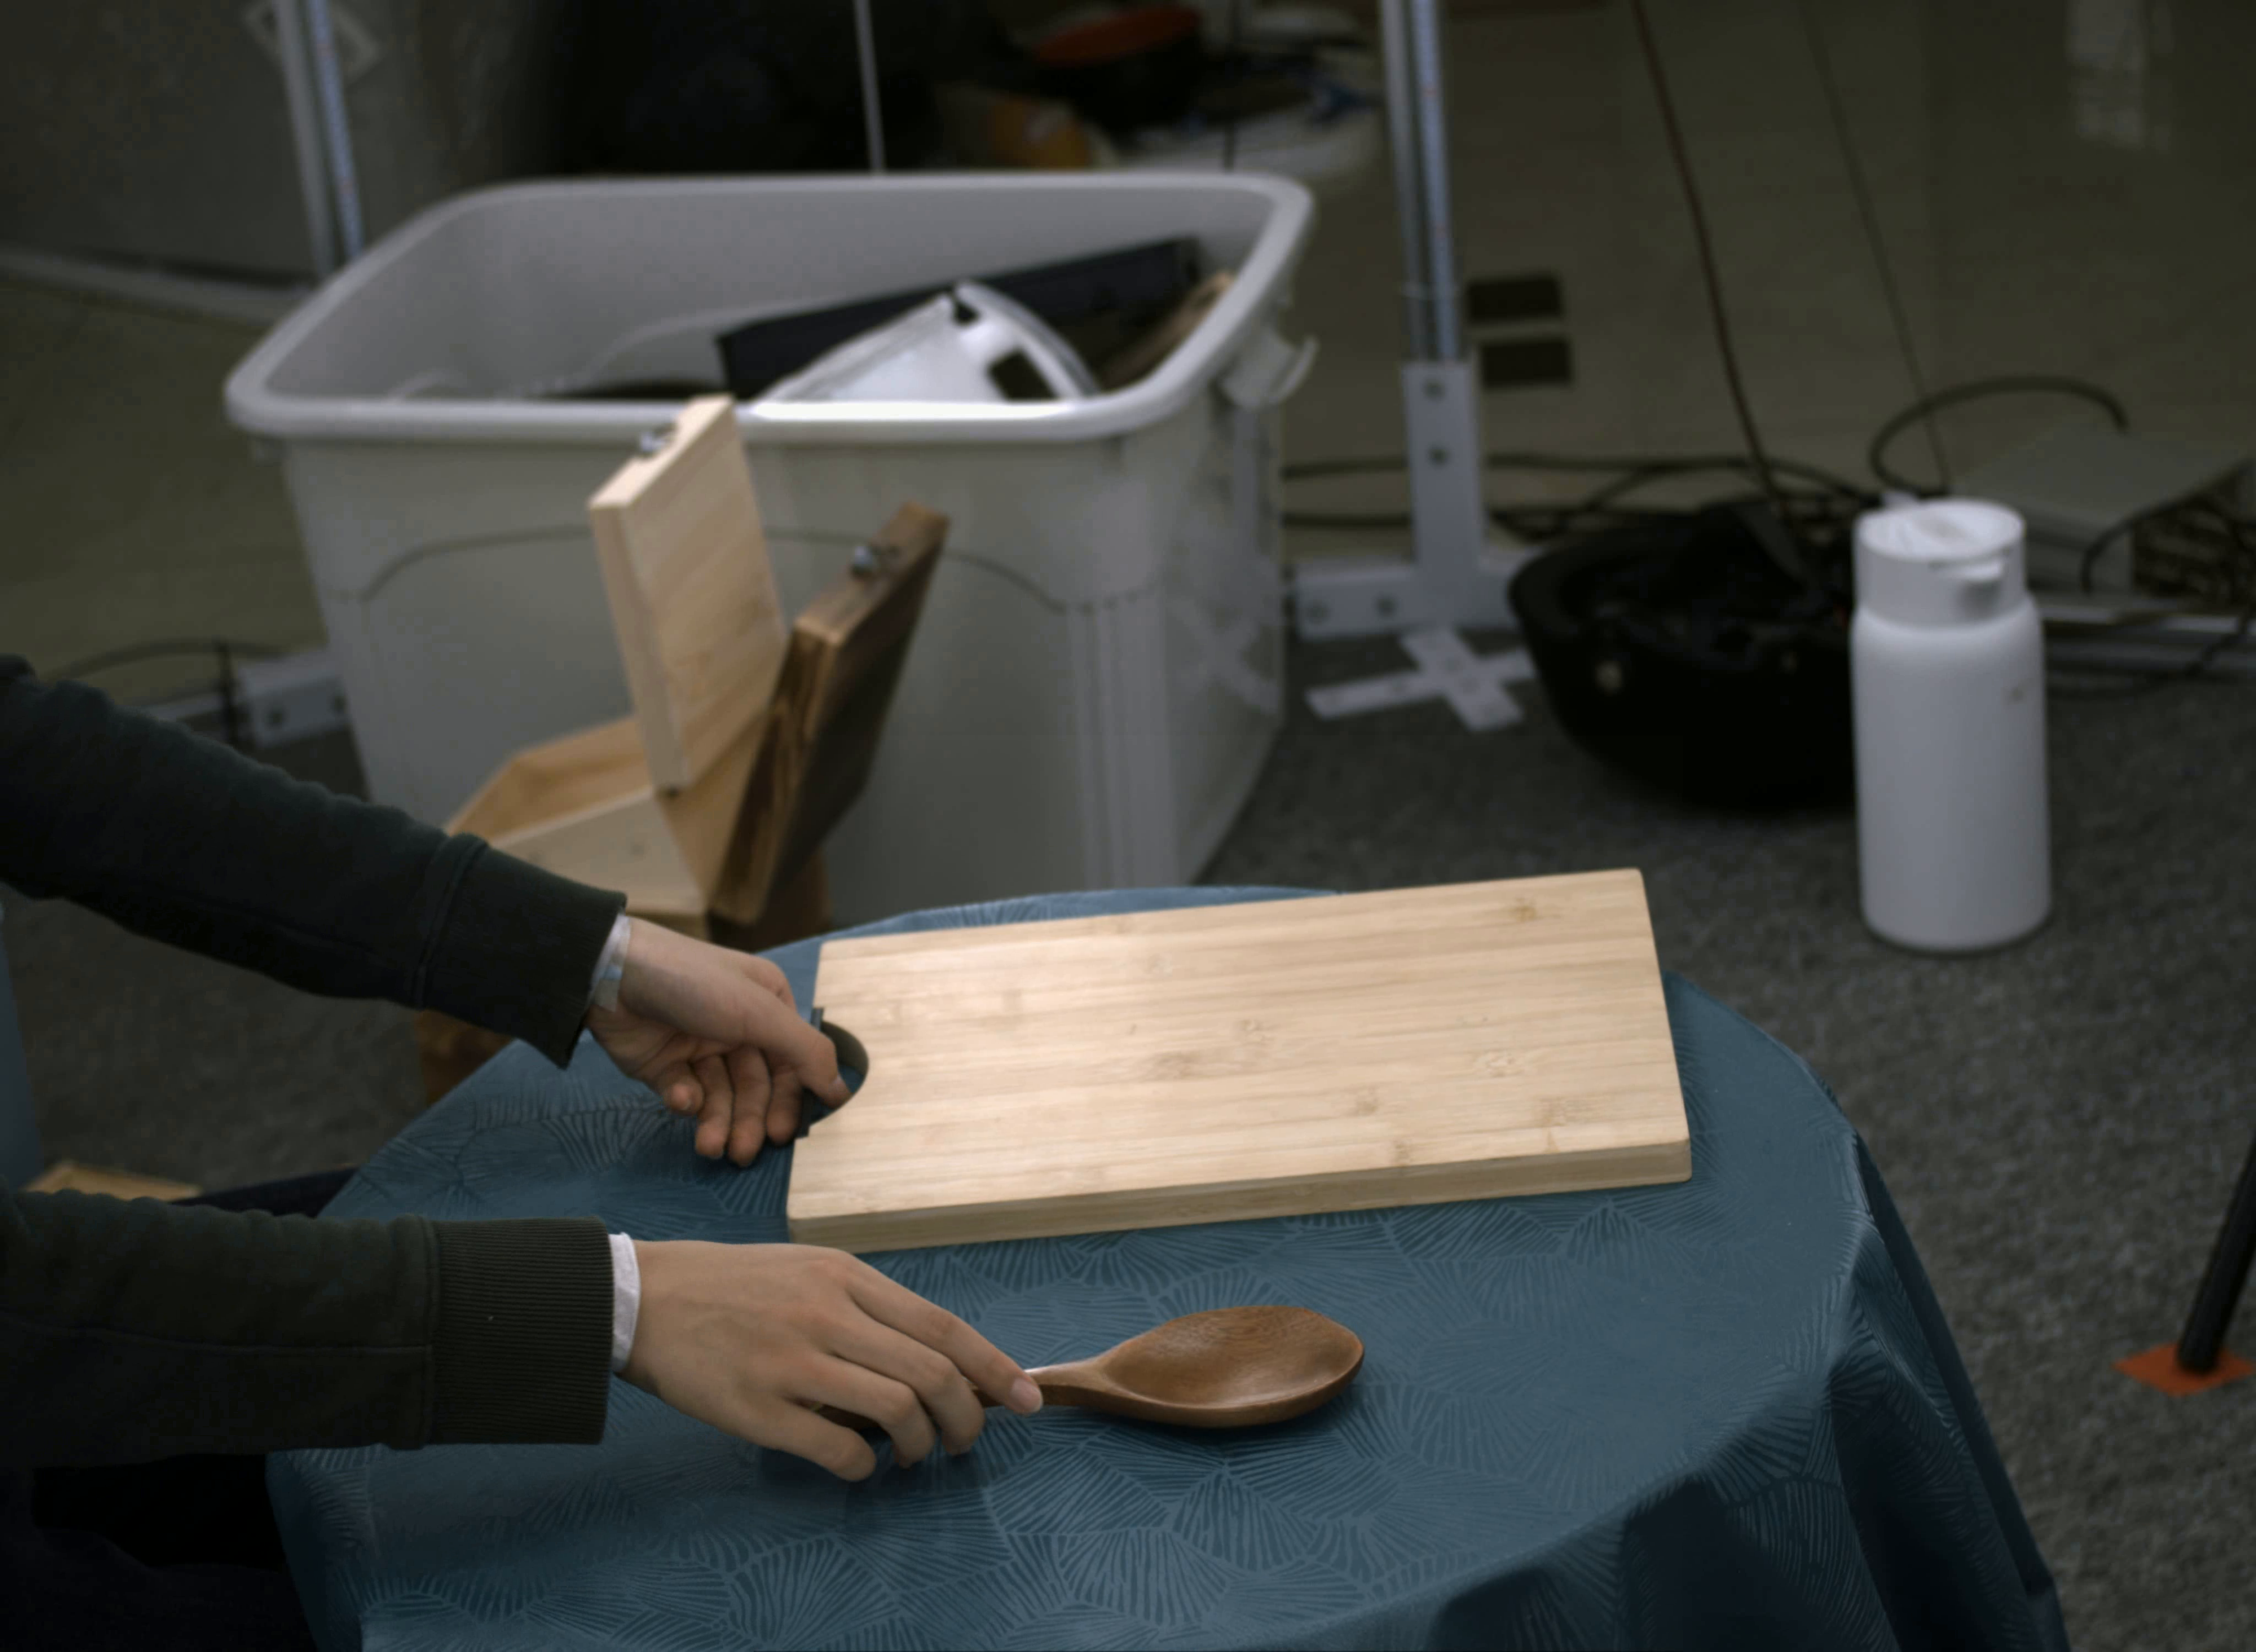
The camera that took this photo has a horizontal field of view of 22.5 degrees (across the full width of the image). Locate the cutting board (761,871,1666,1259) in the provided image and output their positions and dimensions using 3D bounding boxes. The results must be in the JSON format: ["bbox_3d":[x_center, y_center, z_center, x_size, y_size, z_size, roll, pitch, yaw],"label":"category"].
[{"bbox_3d":[0.035,0.092,2.227,0.348,0.024,0.247,-6,24,2],"label":"cutting board"}]

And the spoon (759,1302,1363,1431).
[{"bbox_3d":[-0.024,0.198,2.011,0.215,0.017,0.074,-4,27,3],"label":"spoon"}]
